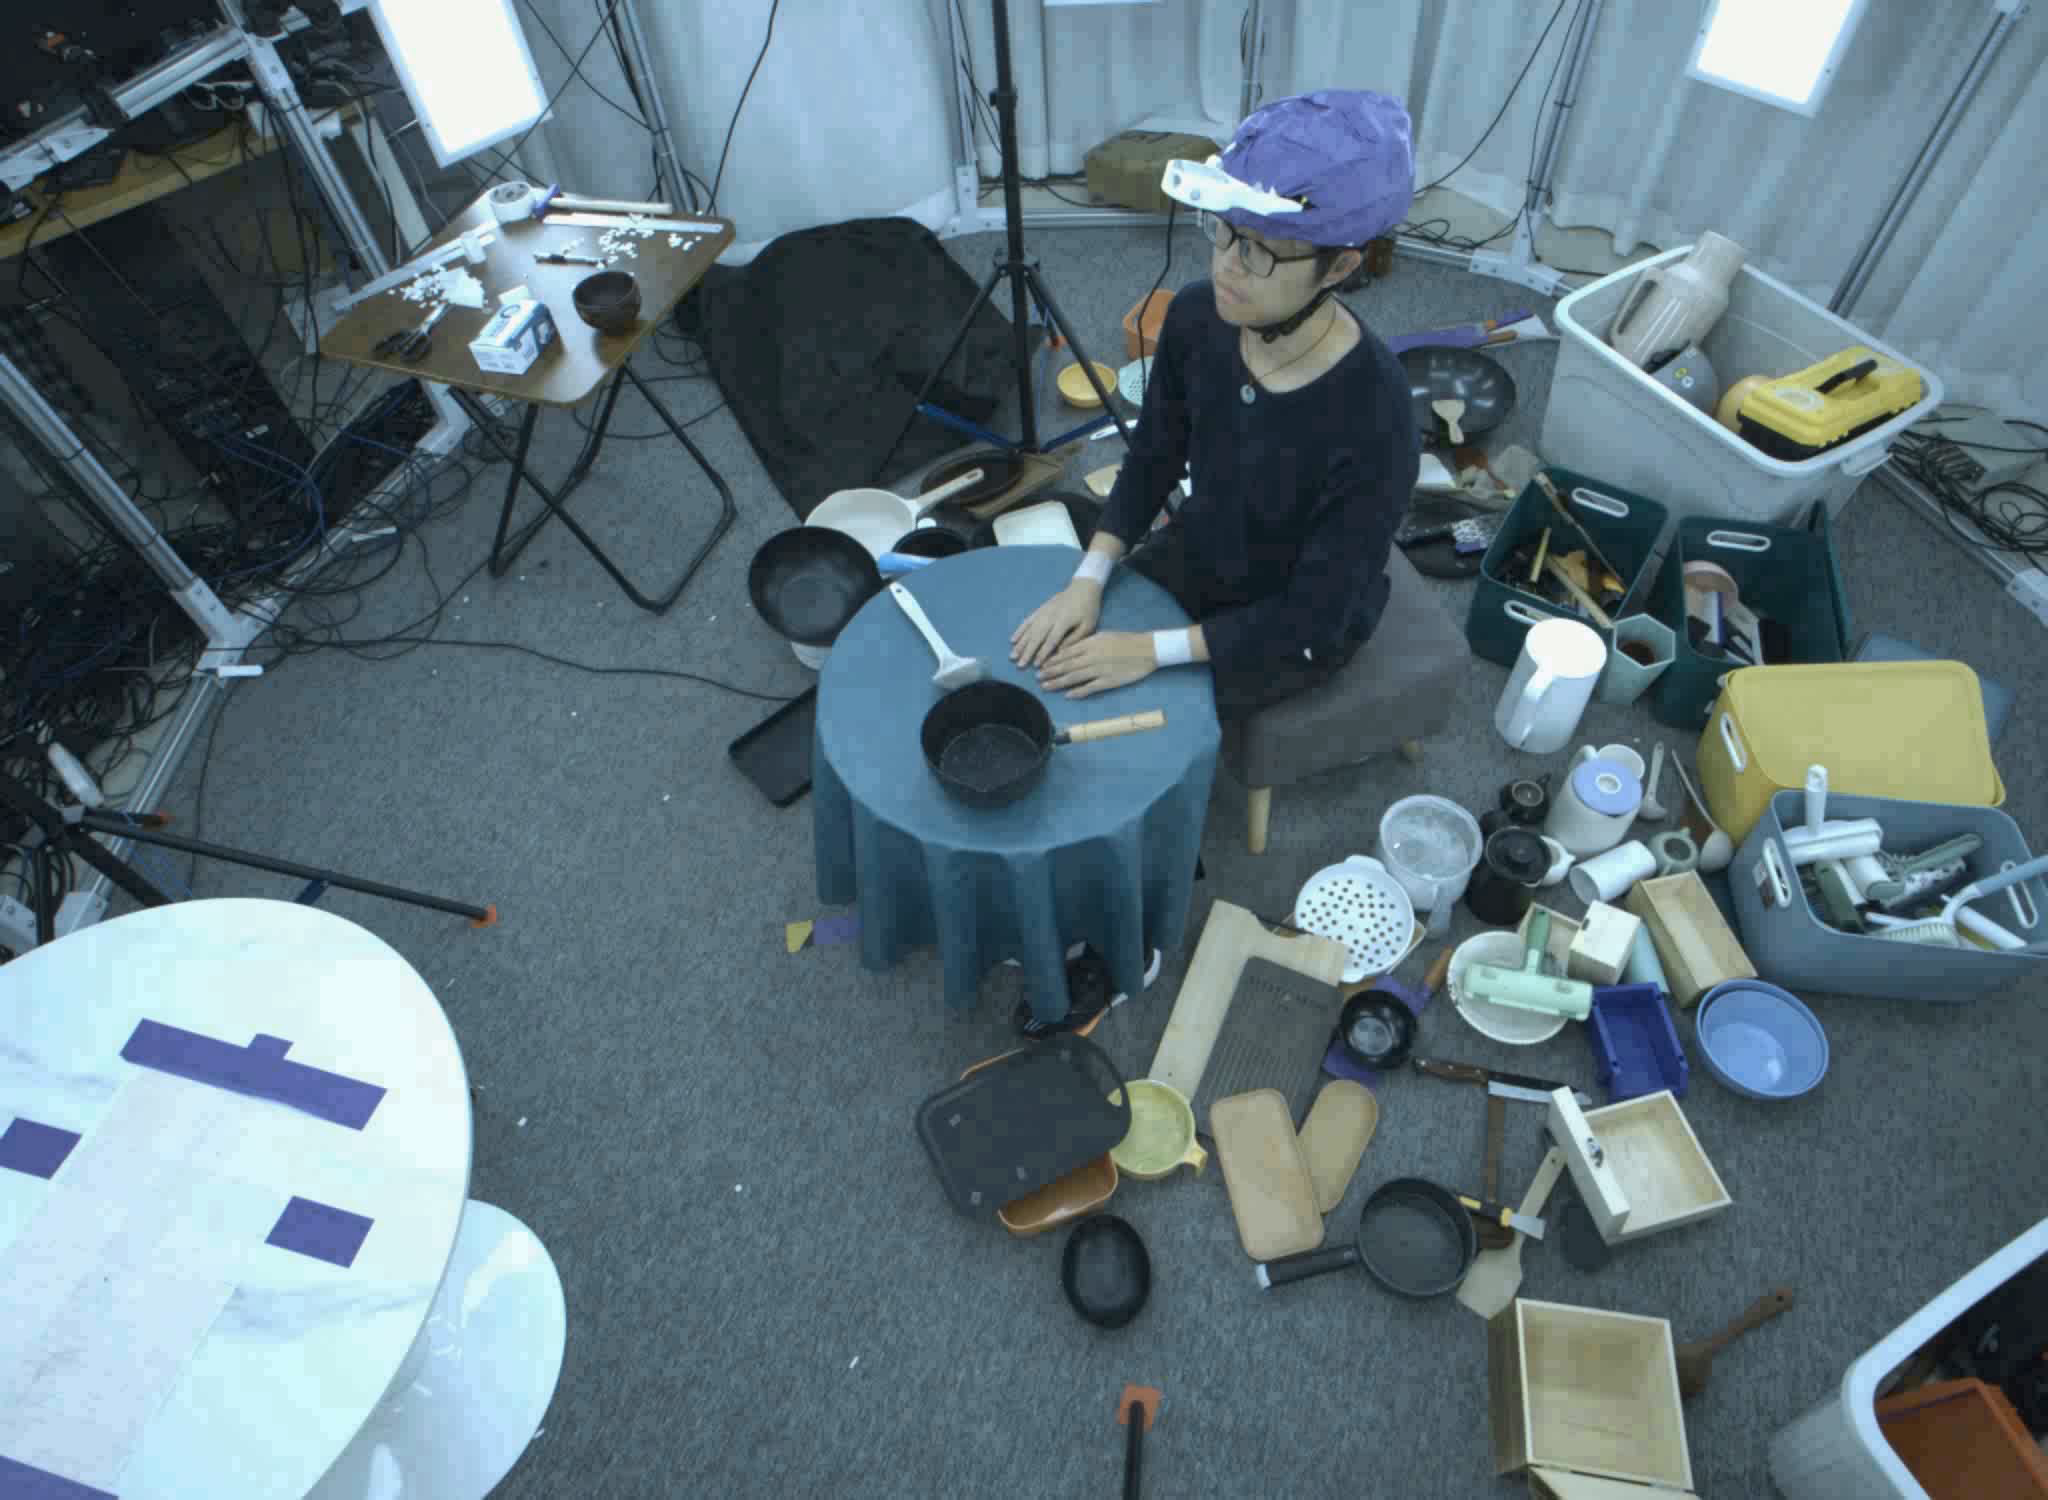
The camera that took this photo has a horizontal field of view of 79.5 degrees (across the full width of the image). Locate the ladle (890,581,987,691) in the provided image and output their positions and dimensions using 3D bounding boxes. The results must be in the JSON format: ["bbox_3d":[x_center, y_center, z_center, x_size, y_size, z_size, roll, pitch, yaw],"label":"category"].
[{"bbox_3d":[-0.149,-0.195,1.888,0.090,0.070,0.270,-28,59,-12],"label":"ladle"}]

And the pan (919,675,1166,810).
[{"bbox_3d":[0.028,-0.012,1.728,0.342,0.109,0.205,-4,54,1],"label":"pan"}]
